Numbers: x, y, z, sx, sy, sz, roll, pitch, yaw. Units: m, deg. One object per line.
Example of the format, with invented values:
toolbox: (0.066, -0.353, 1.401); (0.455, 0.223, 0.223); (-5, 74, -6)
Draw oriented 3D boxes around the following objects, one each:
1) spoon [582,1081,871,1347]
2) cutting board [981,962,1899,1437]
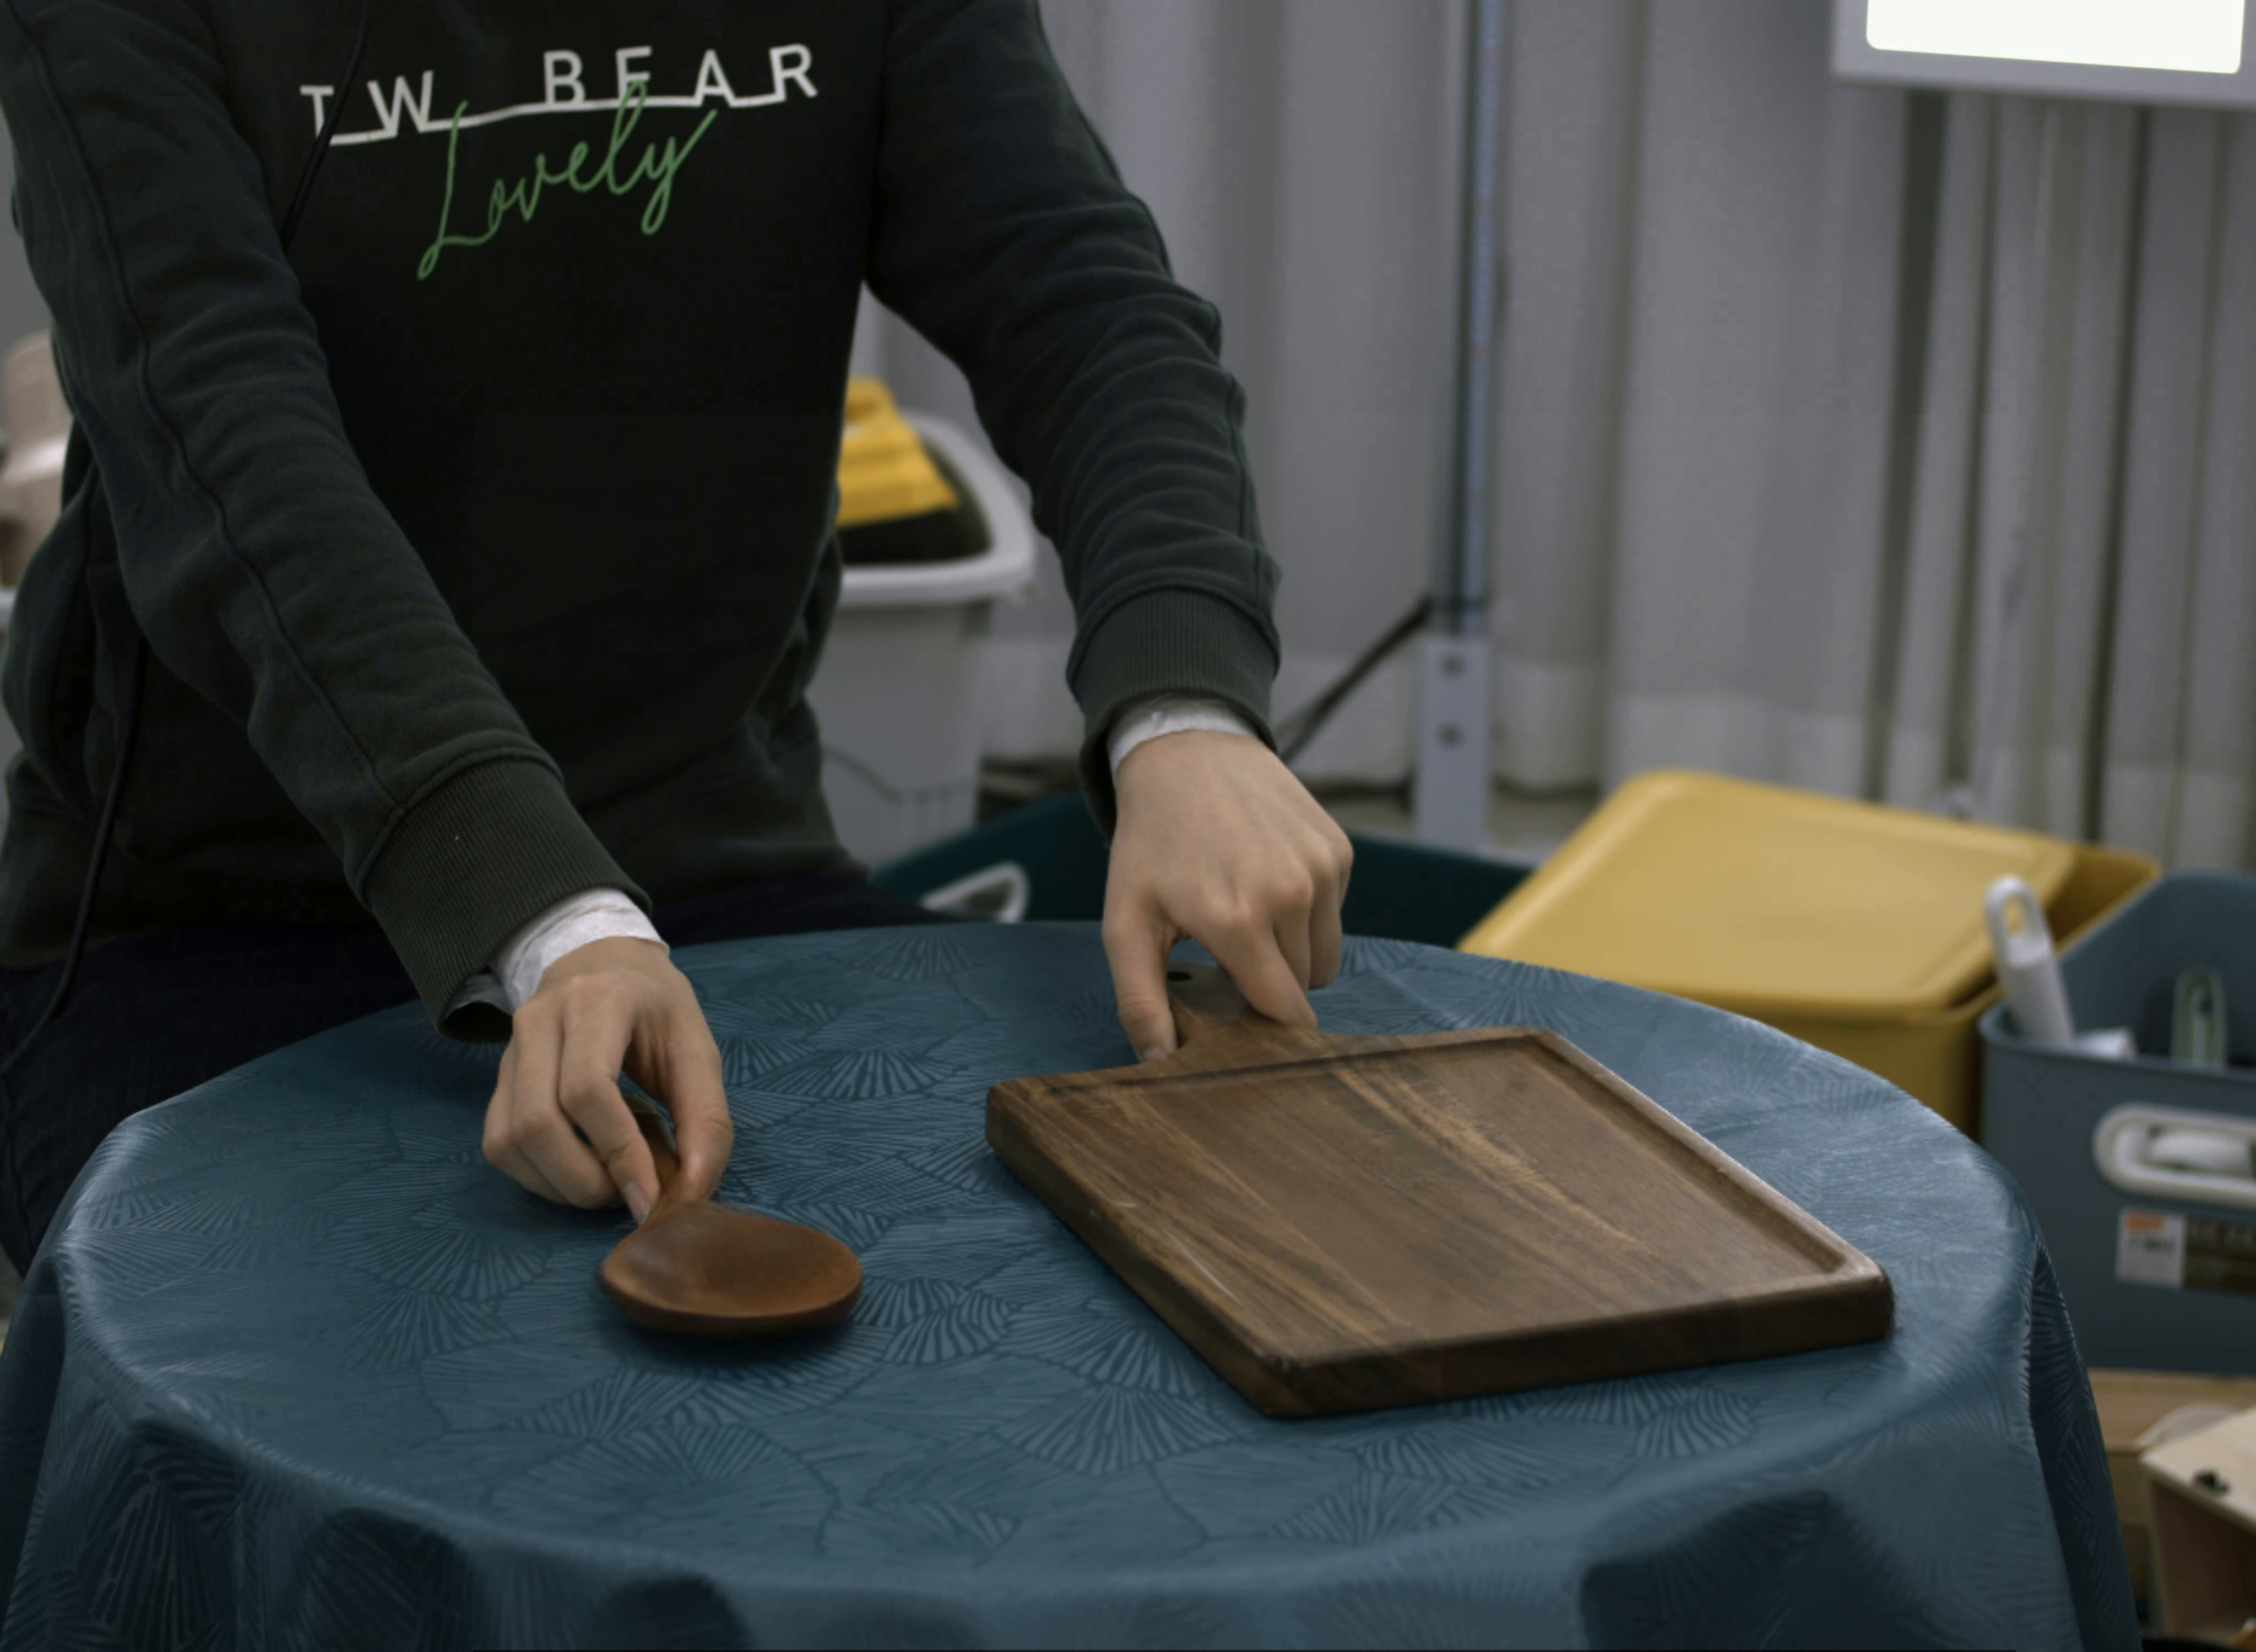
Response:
spoon: (-0.131, 0.116, 1.575); (0.075, 0.017, 0.213); (-6, 18, -16)
cutting board: (0.071, 0.102, 1.626); (0.201, 0.023, 0.348); (-6, 18, -20)
